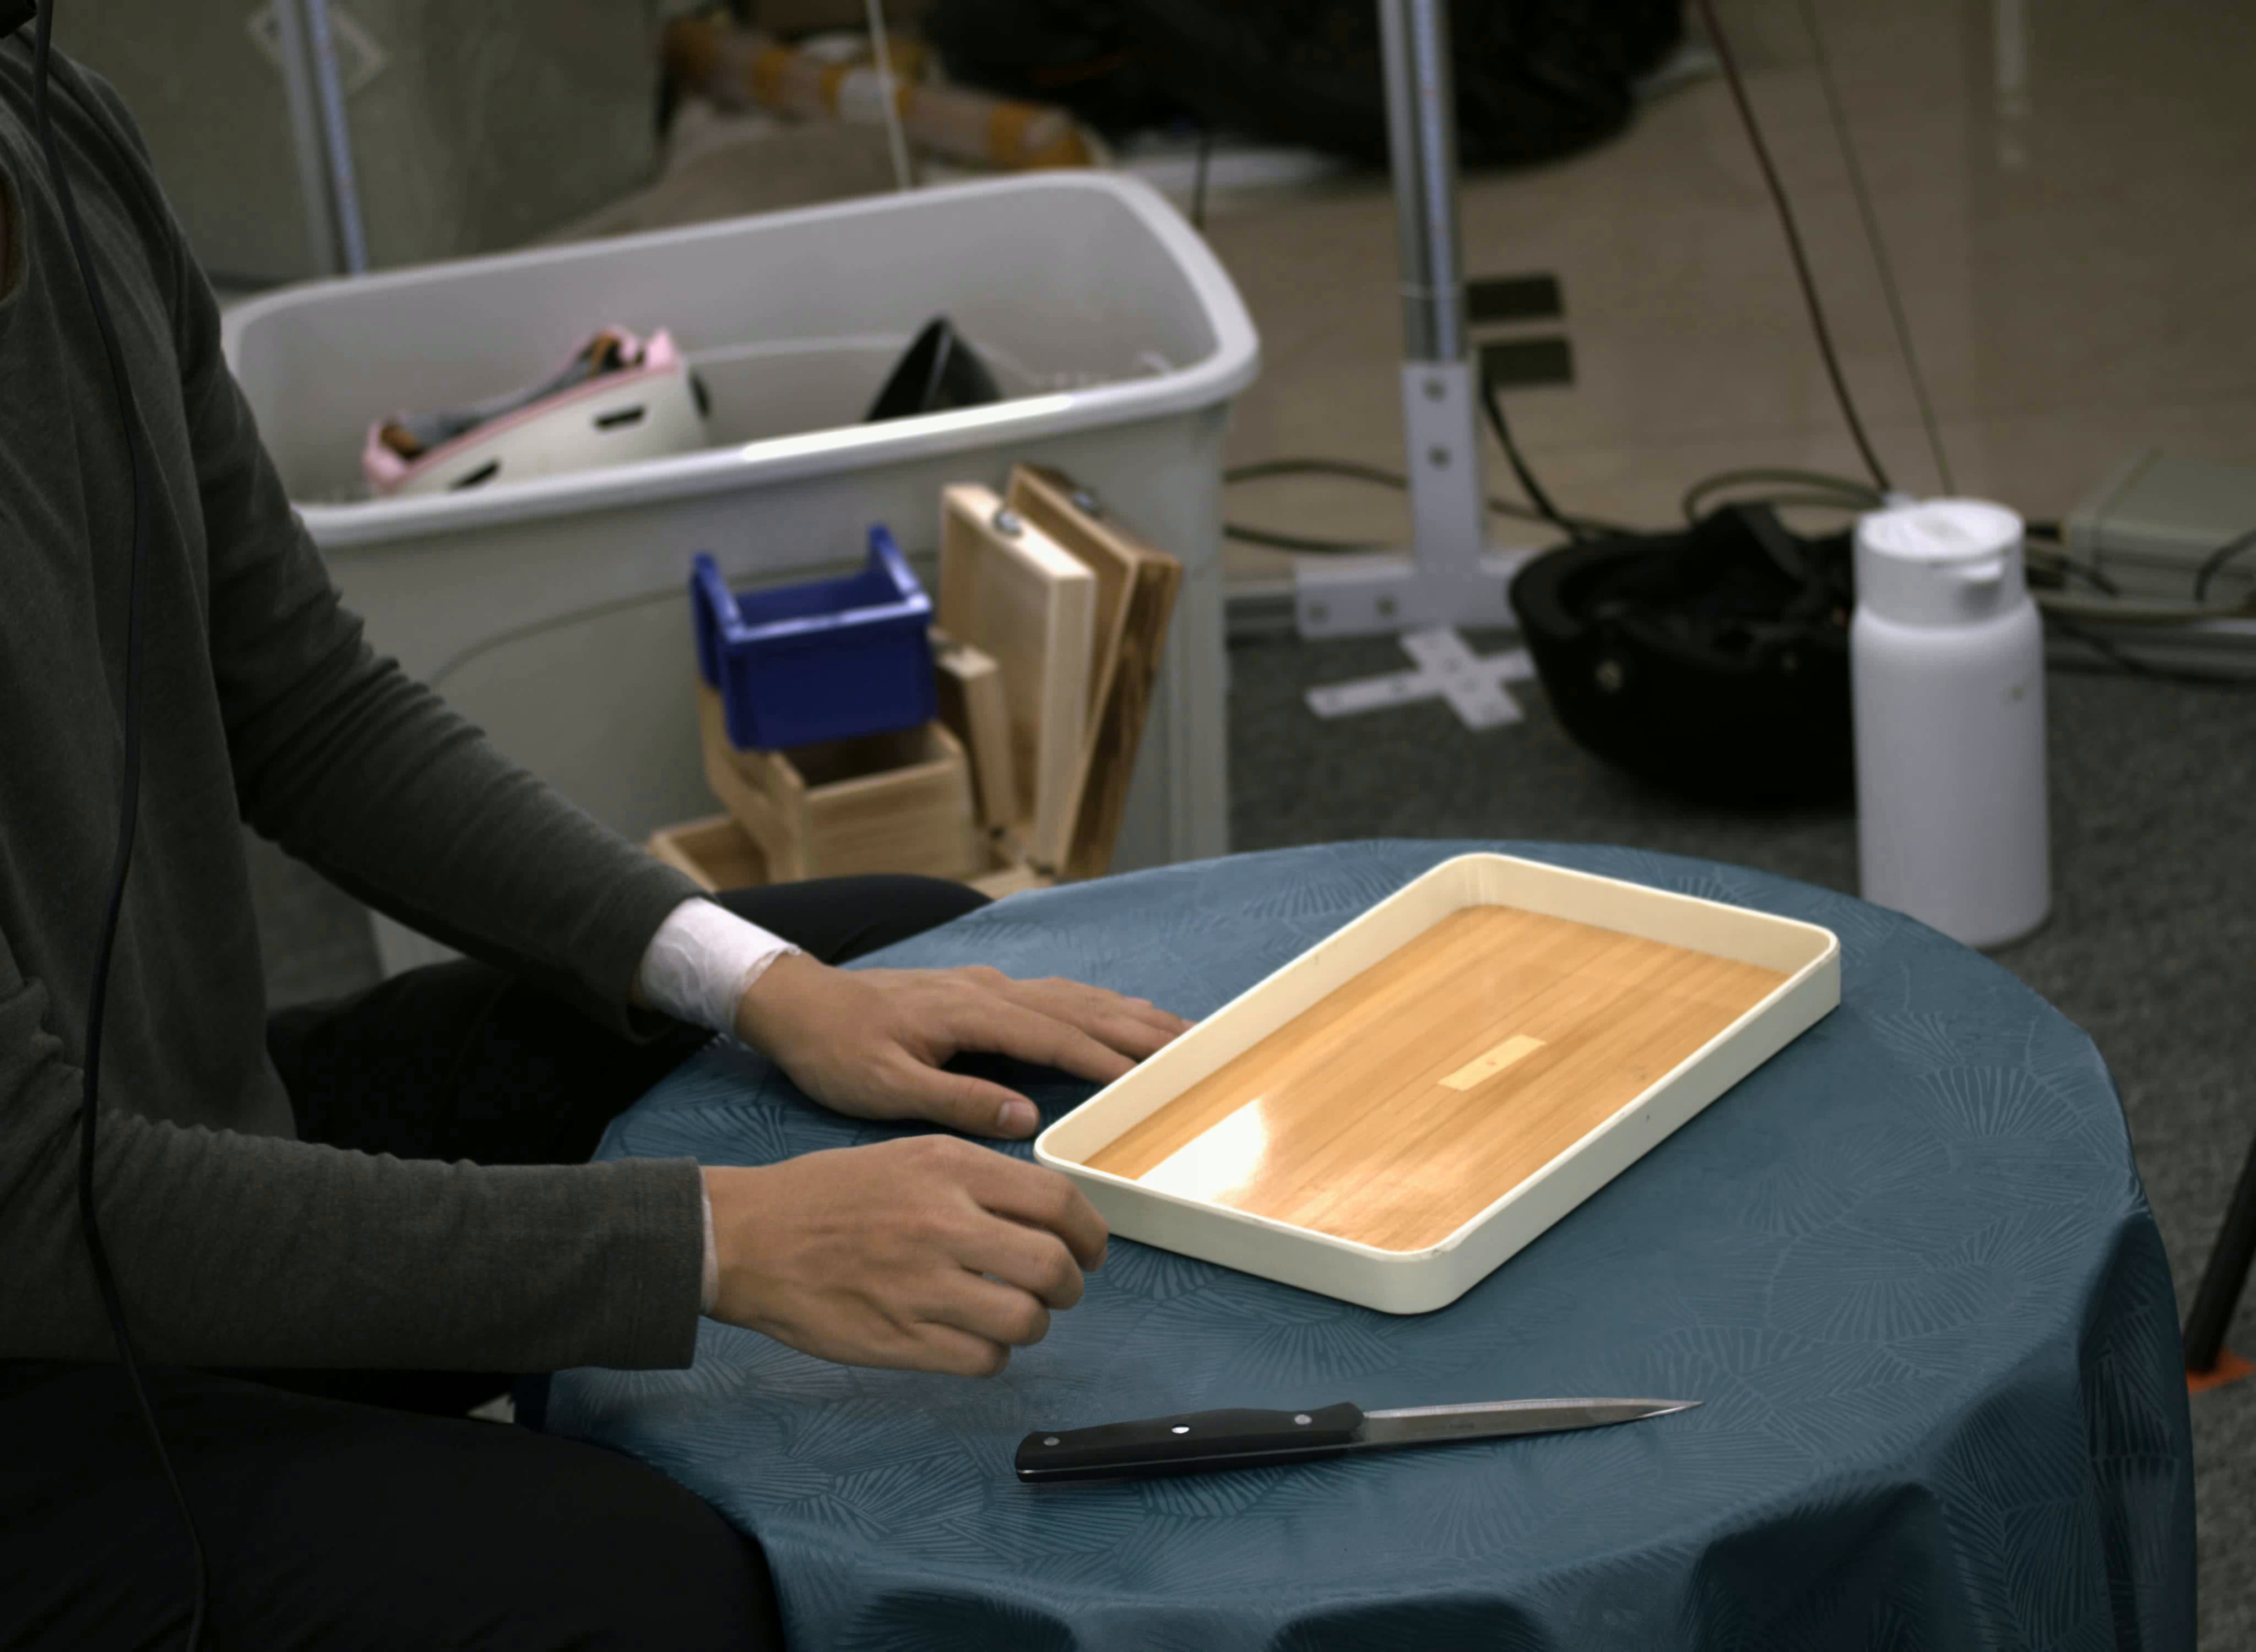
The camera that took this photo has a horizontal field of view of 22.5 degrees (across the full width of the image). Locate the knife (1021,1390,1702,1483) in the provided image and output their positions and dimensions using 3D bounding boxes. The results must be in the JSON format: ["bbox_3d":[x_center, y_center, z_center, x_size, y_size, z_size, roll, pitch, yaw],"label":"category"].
[{"bbox_3d":[0.082,0.209,1.966,0.238,0.016,0.024,-5,27,-3],"label":"knife"}]

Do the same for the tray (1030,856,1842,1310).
[{"bbox_3d":[0.122,0.094,2.187,0.190,0.028,0.297,13,31,38],"label":"tray"}]
